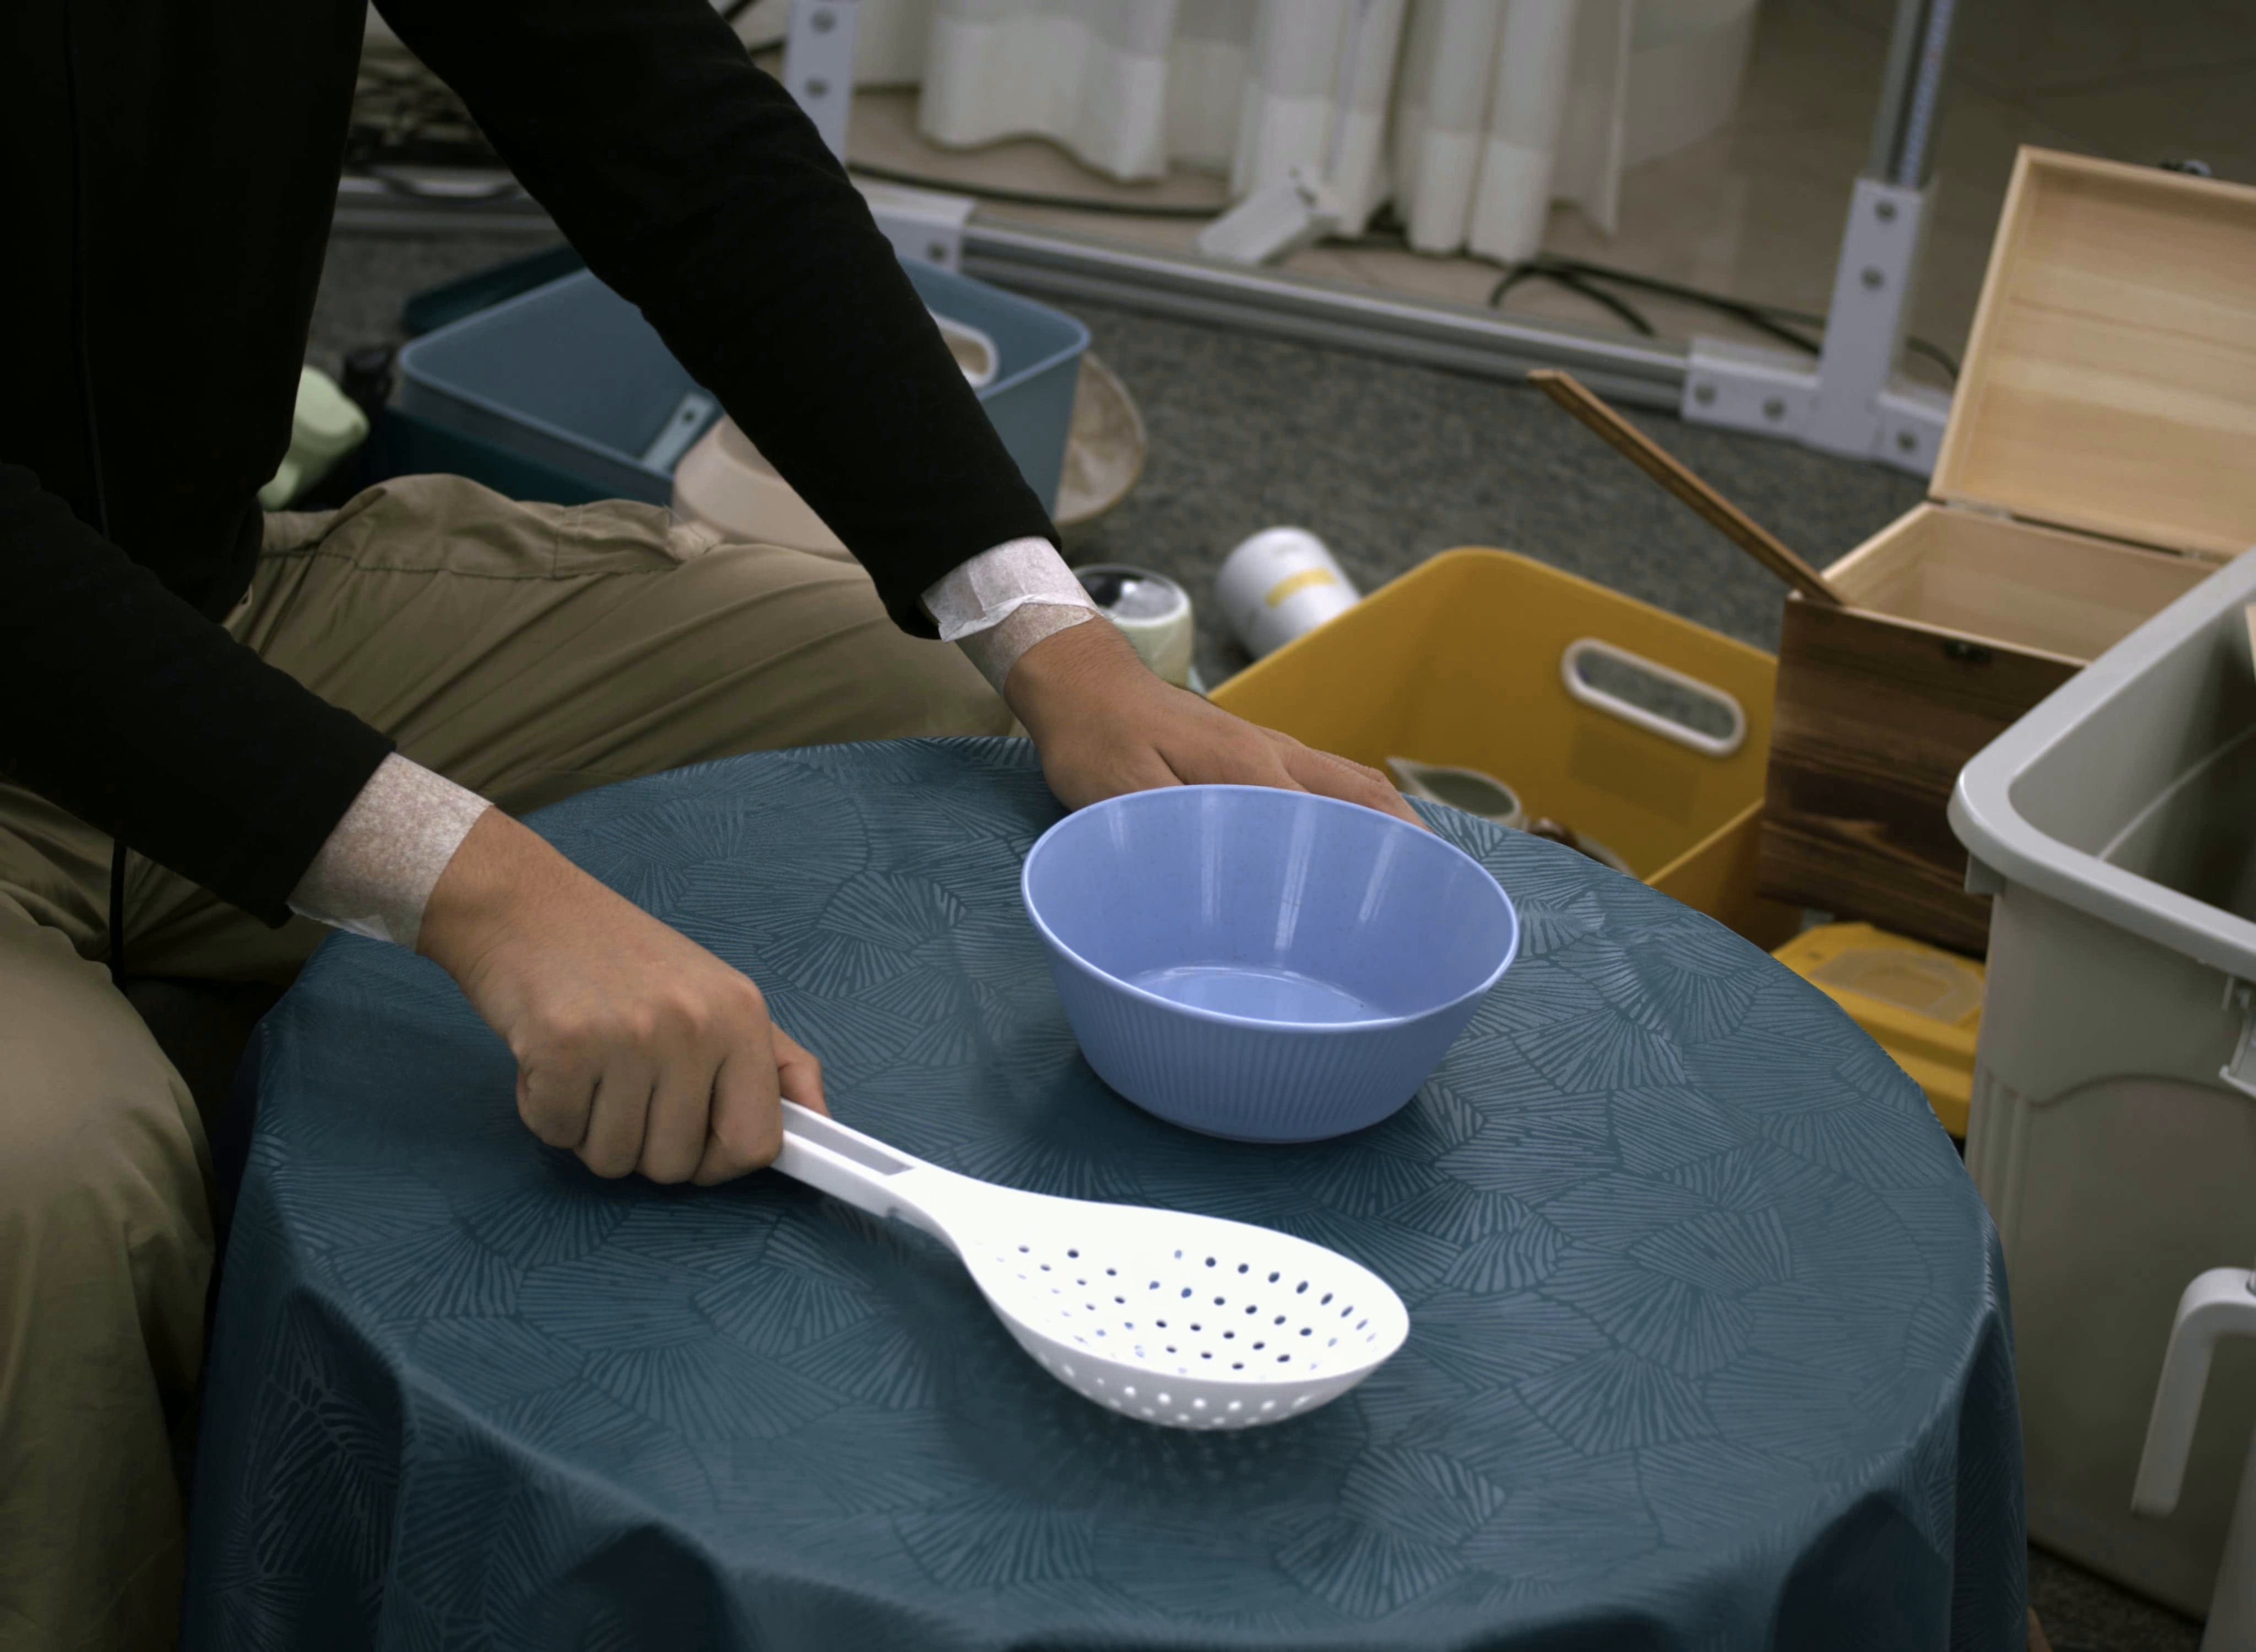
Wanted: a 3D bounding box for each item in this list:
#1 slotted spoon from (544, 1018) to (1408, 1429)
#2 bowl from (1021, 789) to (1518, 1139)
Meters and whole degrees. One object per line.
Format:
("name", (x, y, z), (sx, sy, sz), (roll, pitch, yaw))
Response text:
("slotted spoon", (-0.062, 0.123, 1.737), (0.352, 0.045, 0.135), (25, 24, 34))
("bowl", (0.046, 0.054, 1.872), (0.175, 0.070, 0.177), (5, 26, -3))
